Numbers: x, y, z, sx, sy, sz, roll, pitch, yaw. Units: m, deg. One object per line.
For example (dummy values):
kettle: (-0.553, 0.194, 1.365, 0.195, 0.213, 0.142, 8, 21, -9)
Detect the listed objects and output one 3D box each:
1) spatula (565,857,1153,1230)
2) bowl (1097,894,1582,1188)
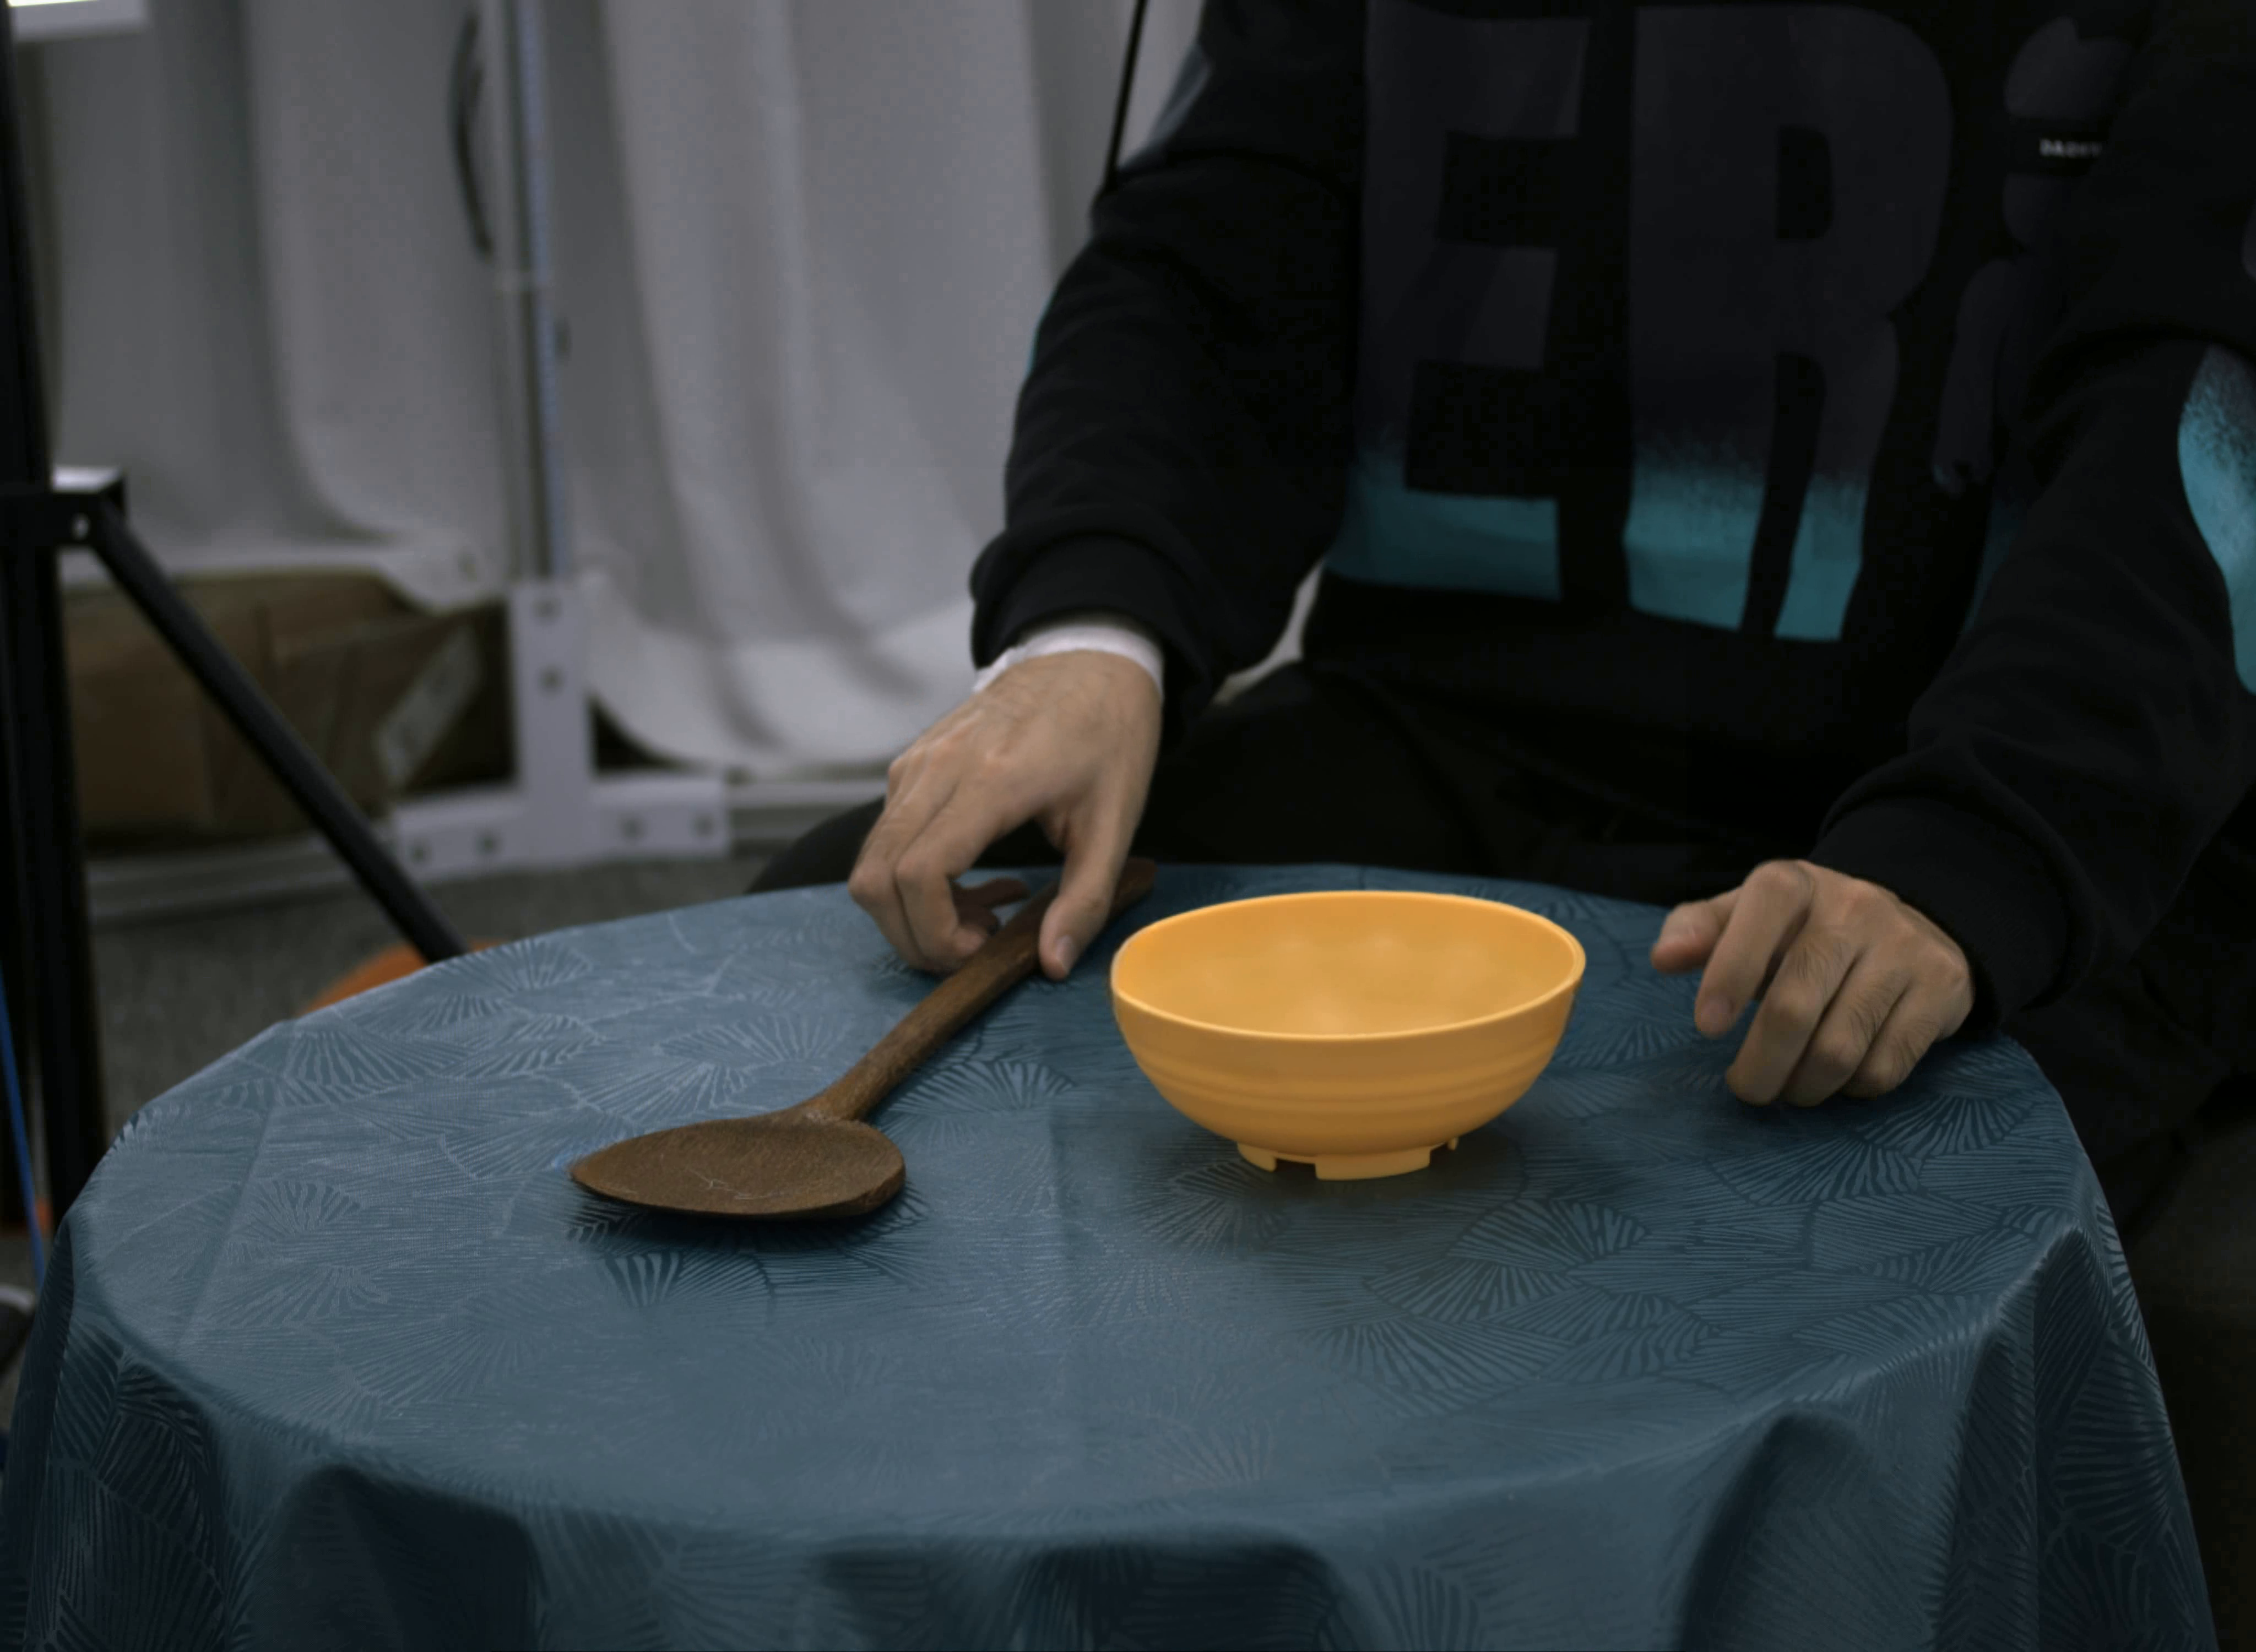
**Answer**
spatula: (-0.063, 0.063, 1.700, 0.097, 0.016, 0.381, 4, 17, 19)
bowl: (0.062, 0.070, 1.584, 0.144, 0.060, 0.146, 0, 16, -1)
